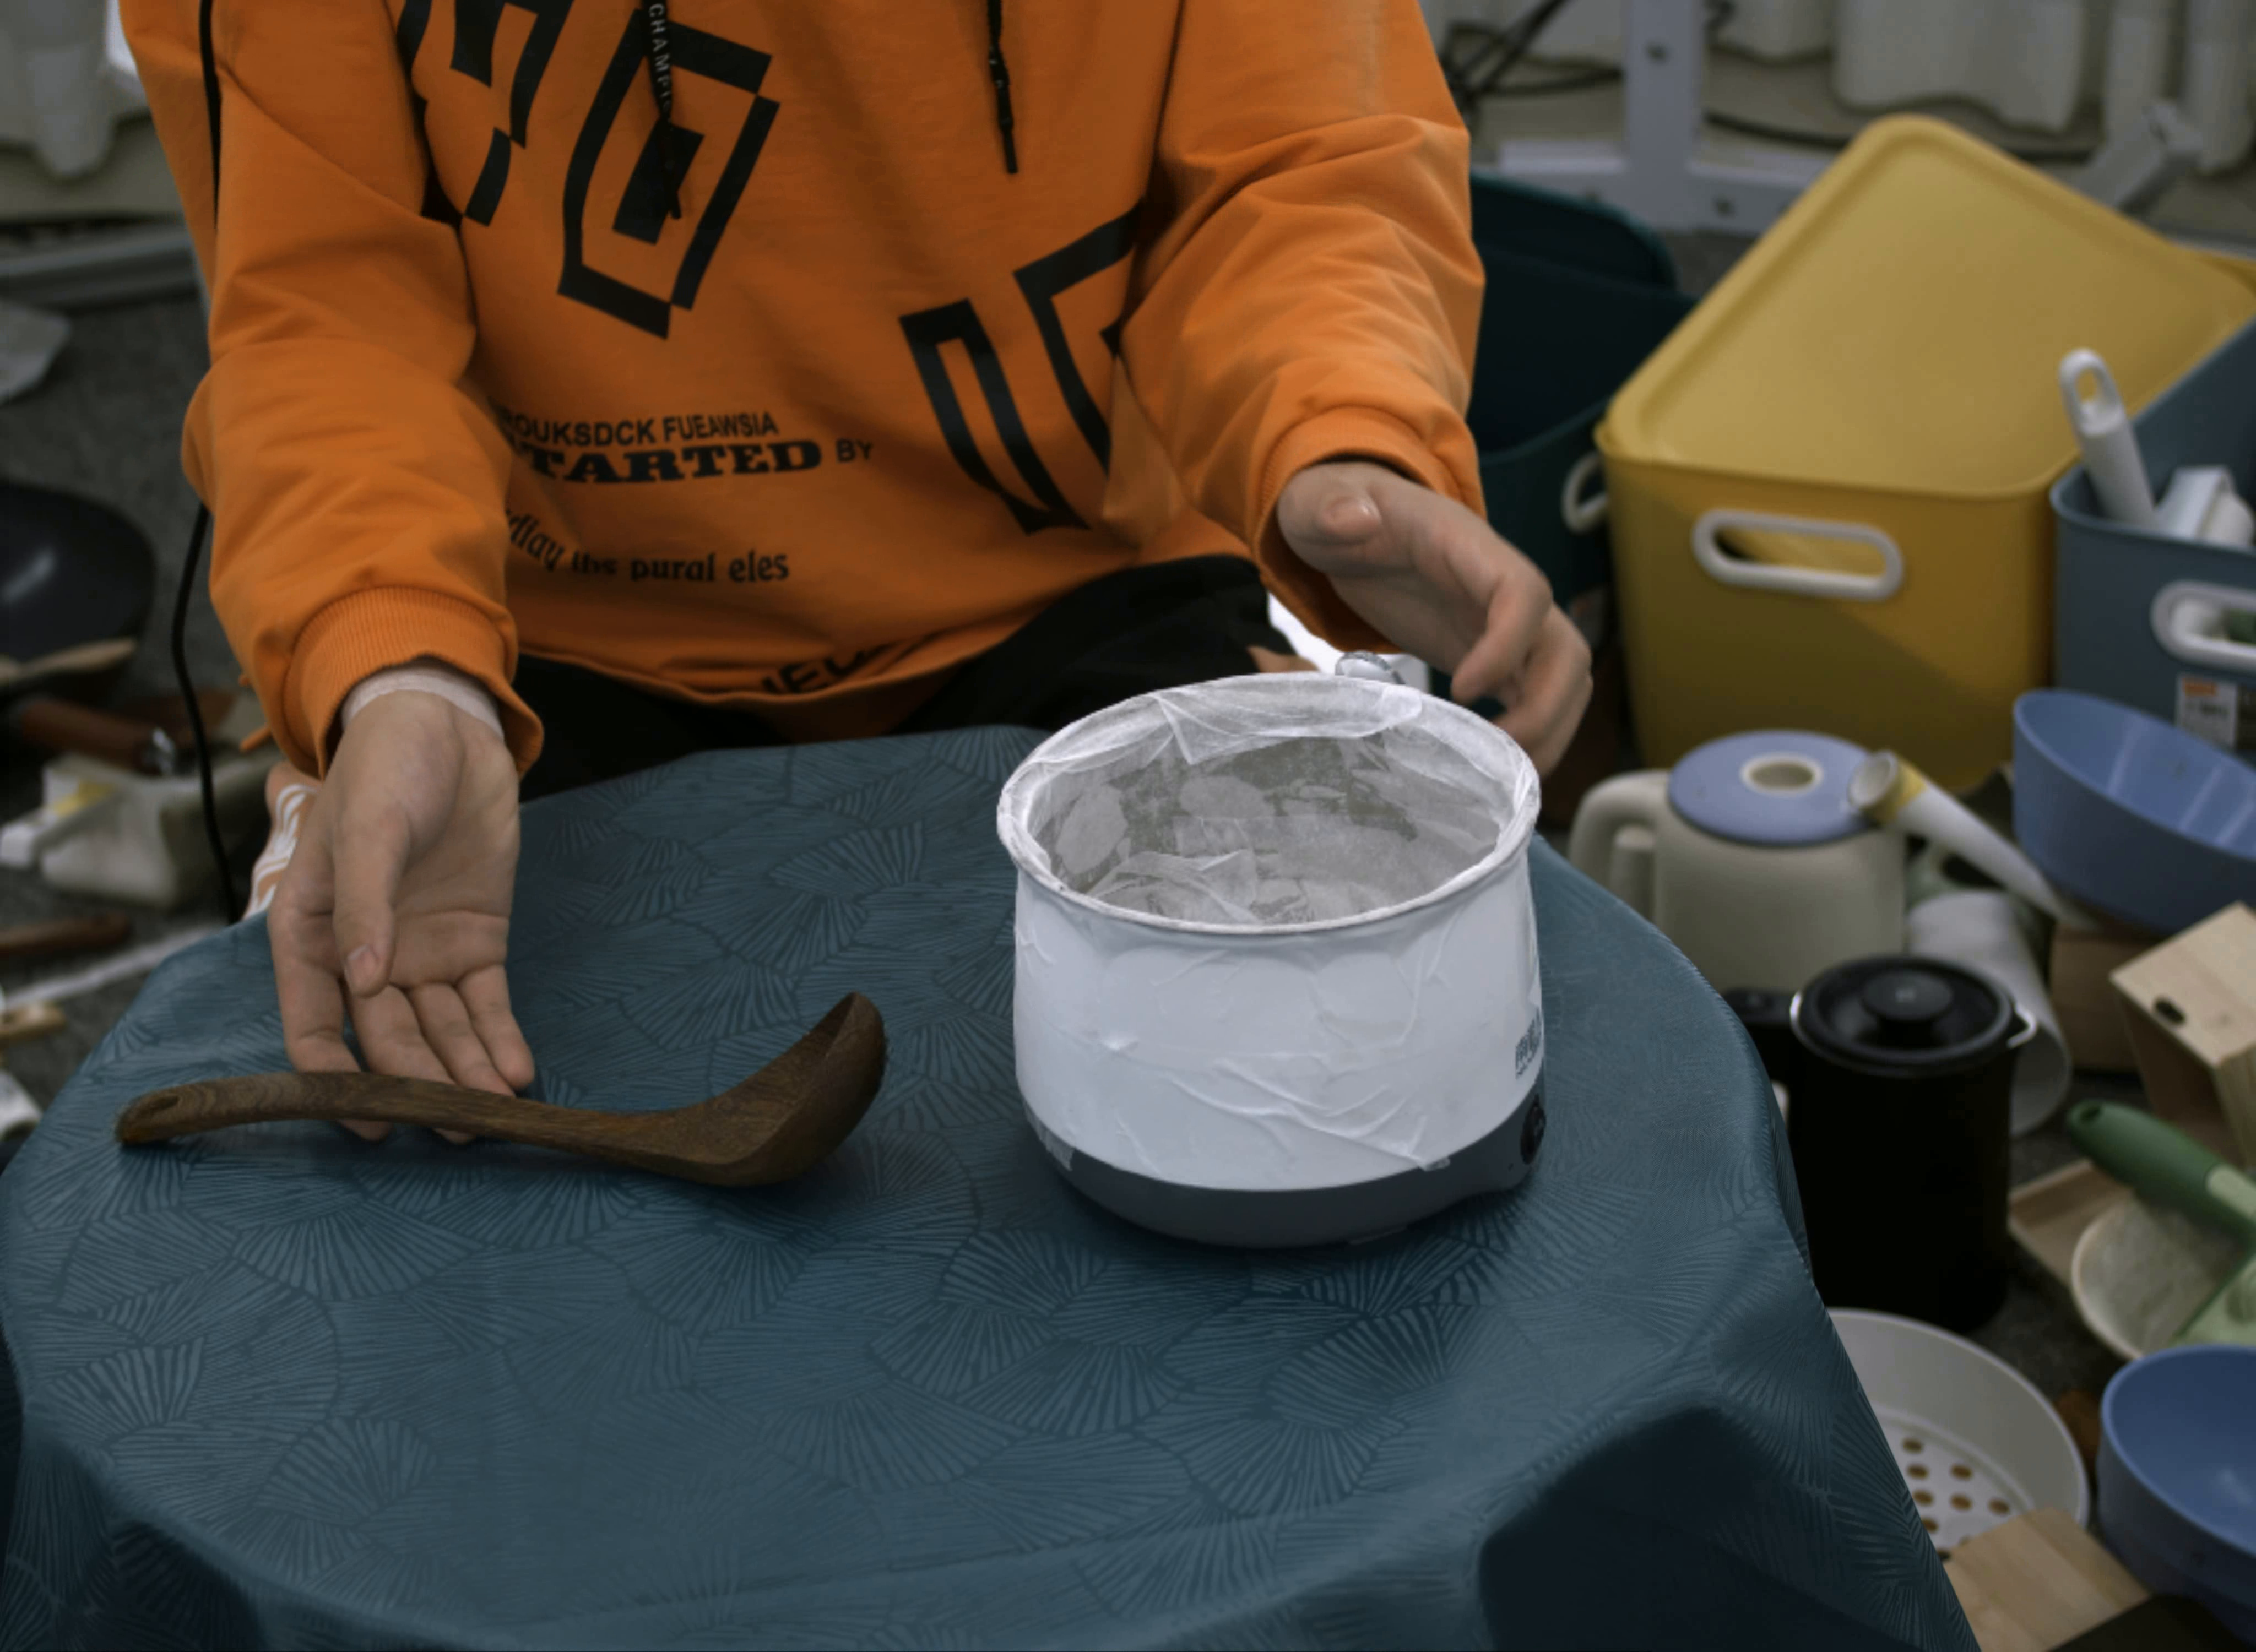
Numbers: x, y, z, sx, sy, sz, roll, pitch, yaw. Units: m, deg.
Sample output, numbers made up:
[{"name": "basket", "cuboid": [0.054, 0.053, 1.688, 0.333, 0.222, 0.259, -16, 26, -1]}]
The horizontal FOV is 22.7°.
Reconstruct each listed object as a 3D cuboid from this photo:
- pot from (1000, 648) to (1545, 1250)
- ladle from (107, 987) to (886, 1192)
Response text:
[{"name": "pot", "cuboid": [0.058, 0.033, 1.879, 0.177, 0.135, 0.238, 6, 29, 17]}, {"name": "ladle", "cuboid": [-0.214, 0.082, 1.884, 0.272, 0.070, 0.077, 3, 25, 11]}]
